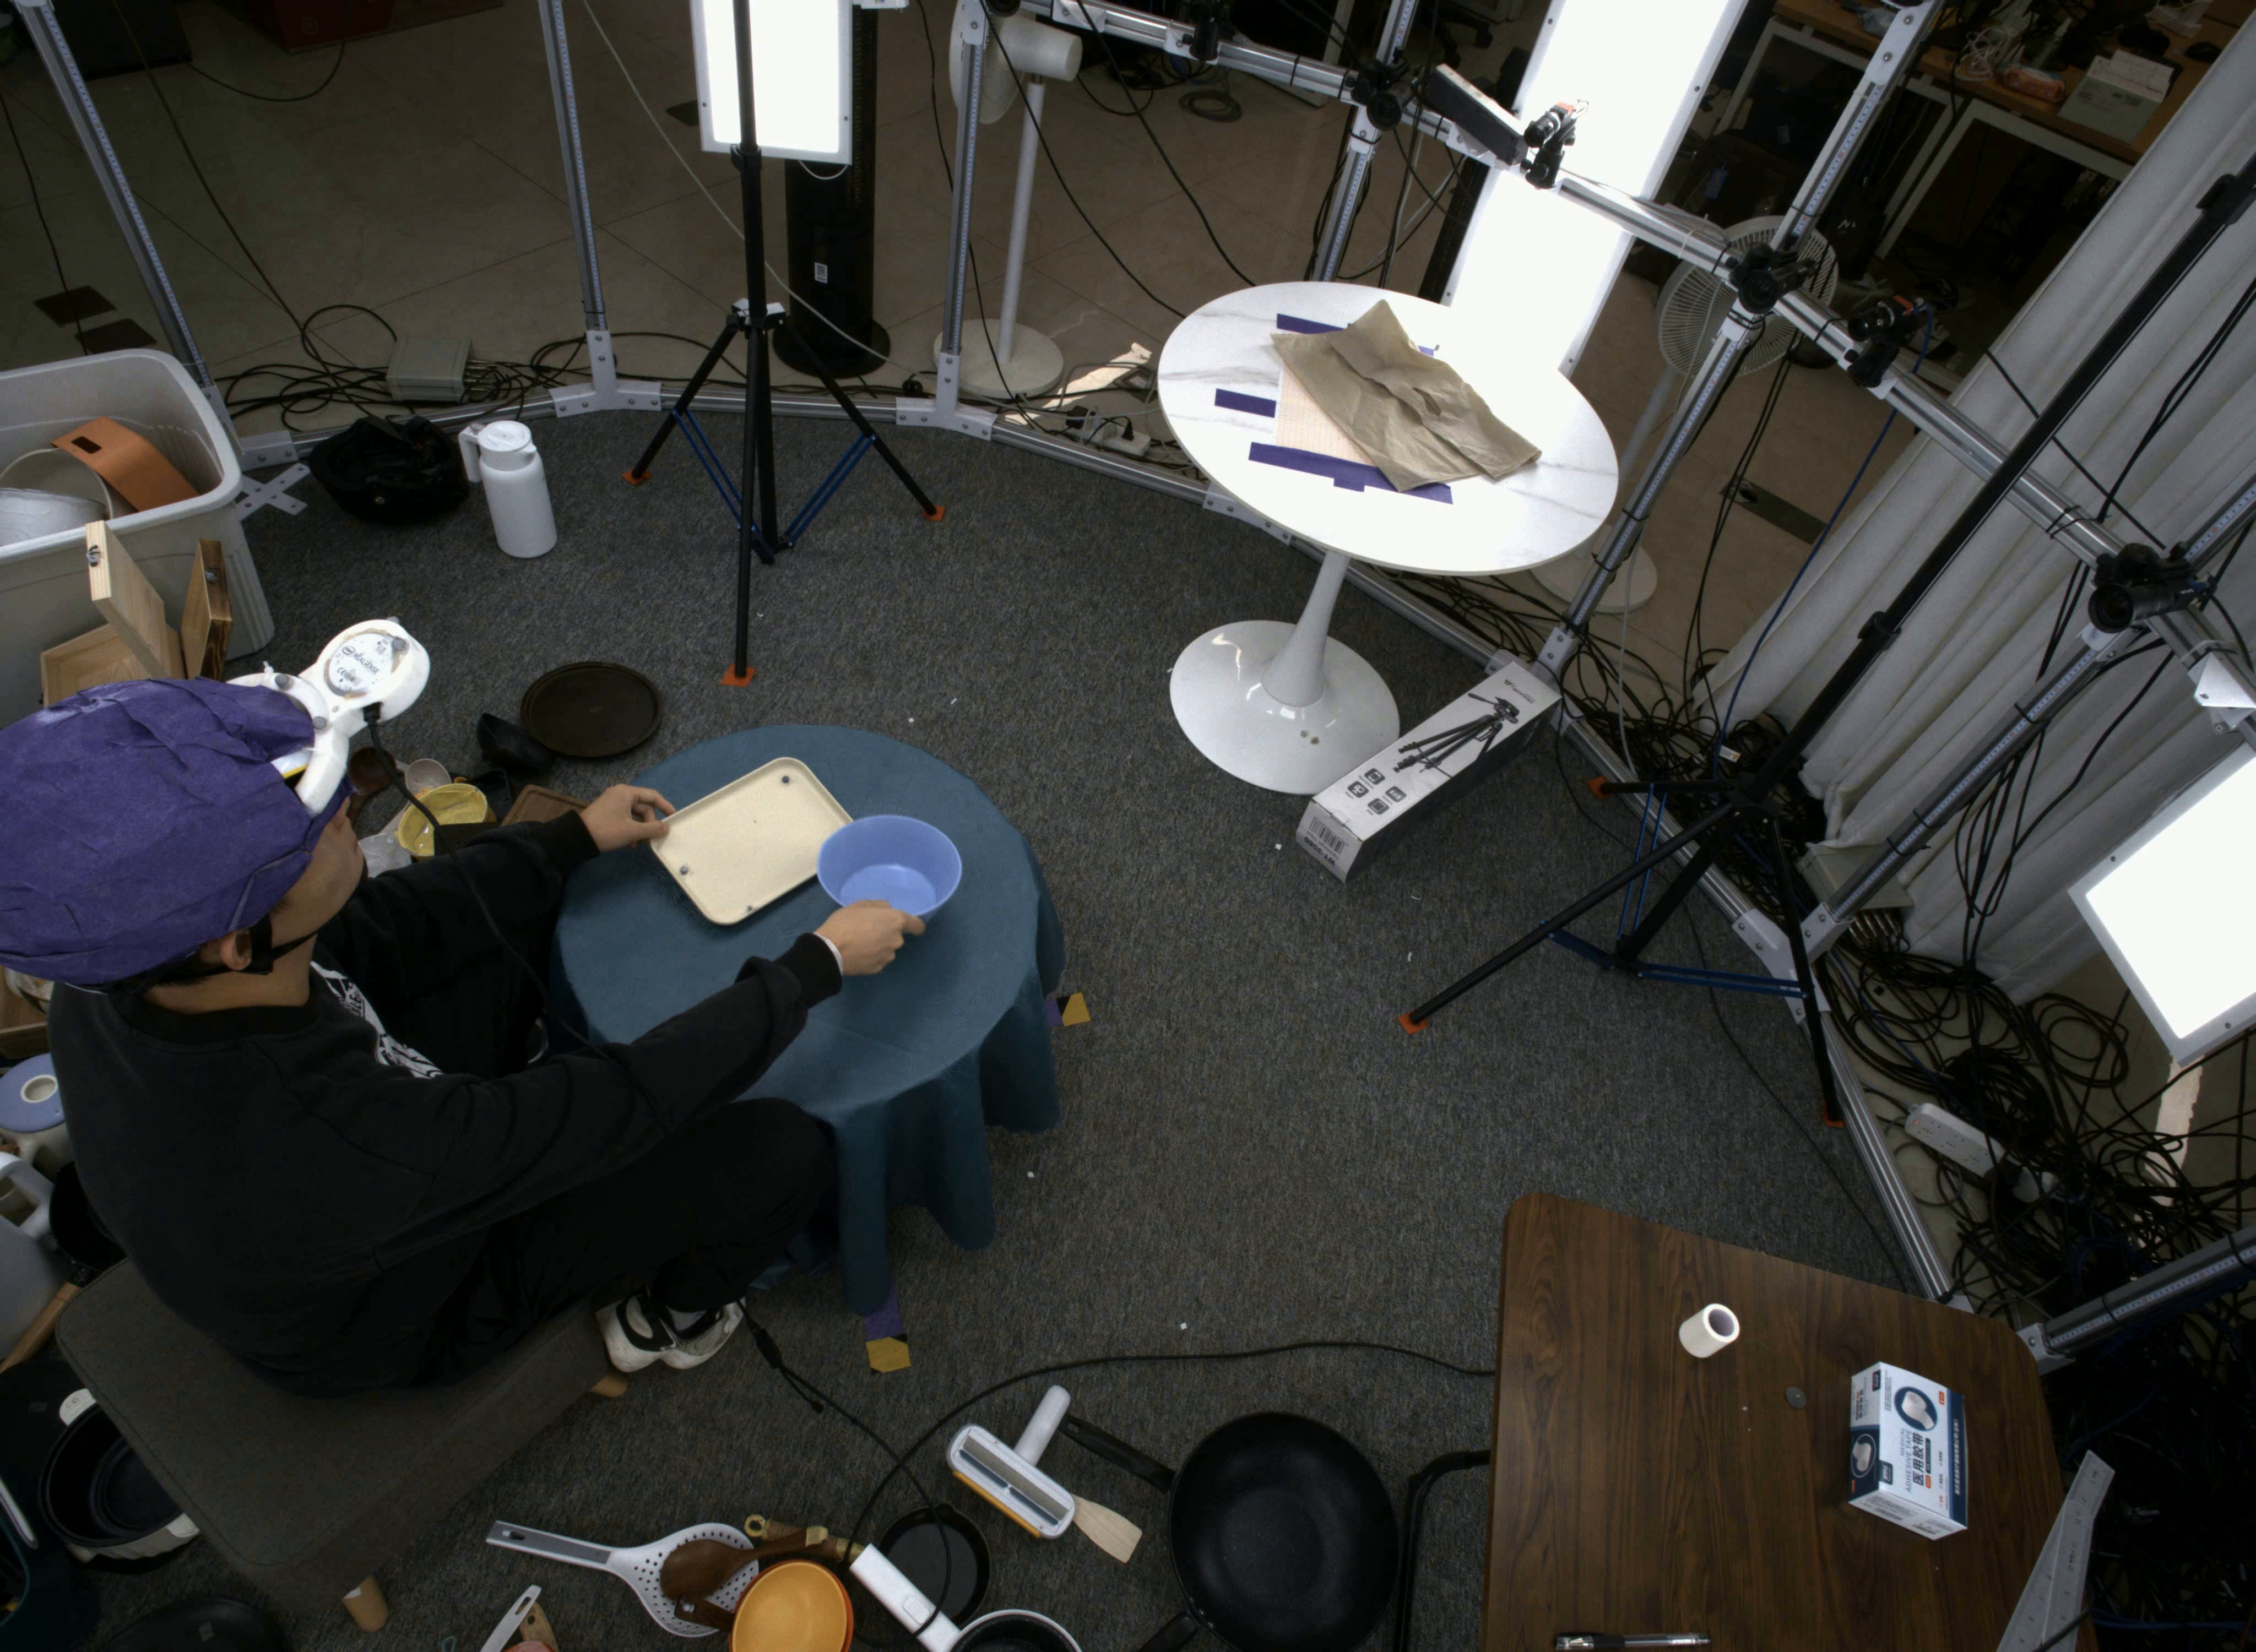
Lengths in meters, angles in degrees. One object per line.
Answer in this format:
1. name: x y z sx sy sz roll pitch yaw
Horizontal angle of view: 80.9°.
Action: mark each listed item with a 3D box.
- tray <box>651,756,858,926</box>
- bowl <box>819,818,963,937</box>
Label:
1. tray: -0.479 0.016 1.671 0.240 0.017 0.169 -35 79 -35
2. bowl: -0.294 0.072 1.616 0.175 0.072 0.172 8 43 -5
